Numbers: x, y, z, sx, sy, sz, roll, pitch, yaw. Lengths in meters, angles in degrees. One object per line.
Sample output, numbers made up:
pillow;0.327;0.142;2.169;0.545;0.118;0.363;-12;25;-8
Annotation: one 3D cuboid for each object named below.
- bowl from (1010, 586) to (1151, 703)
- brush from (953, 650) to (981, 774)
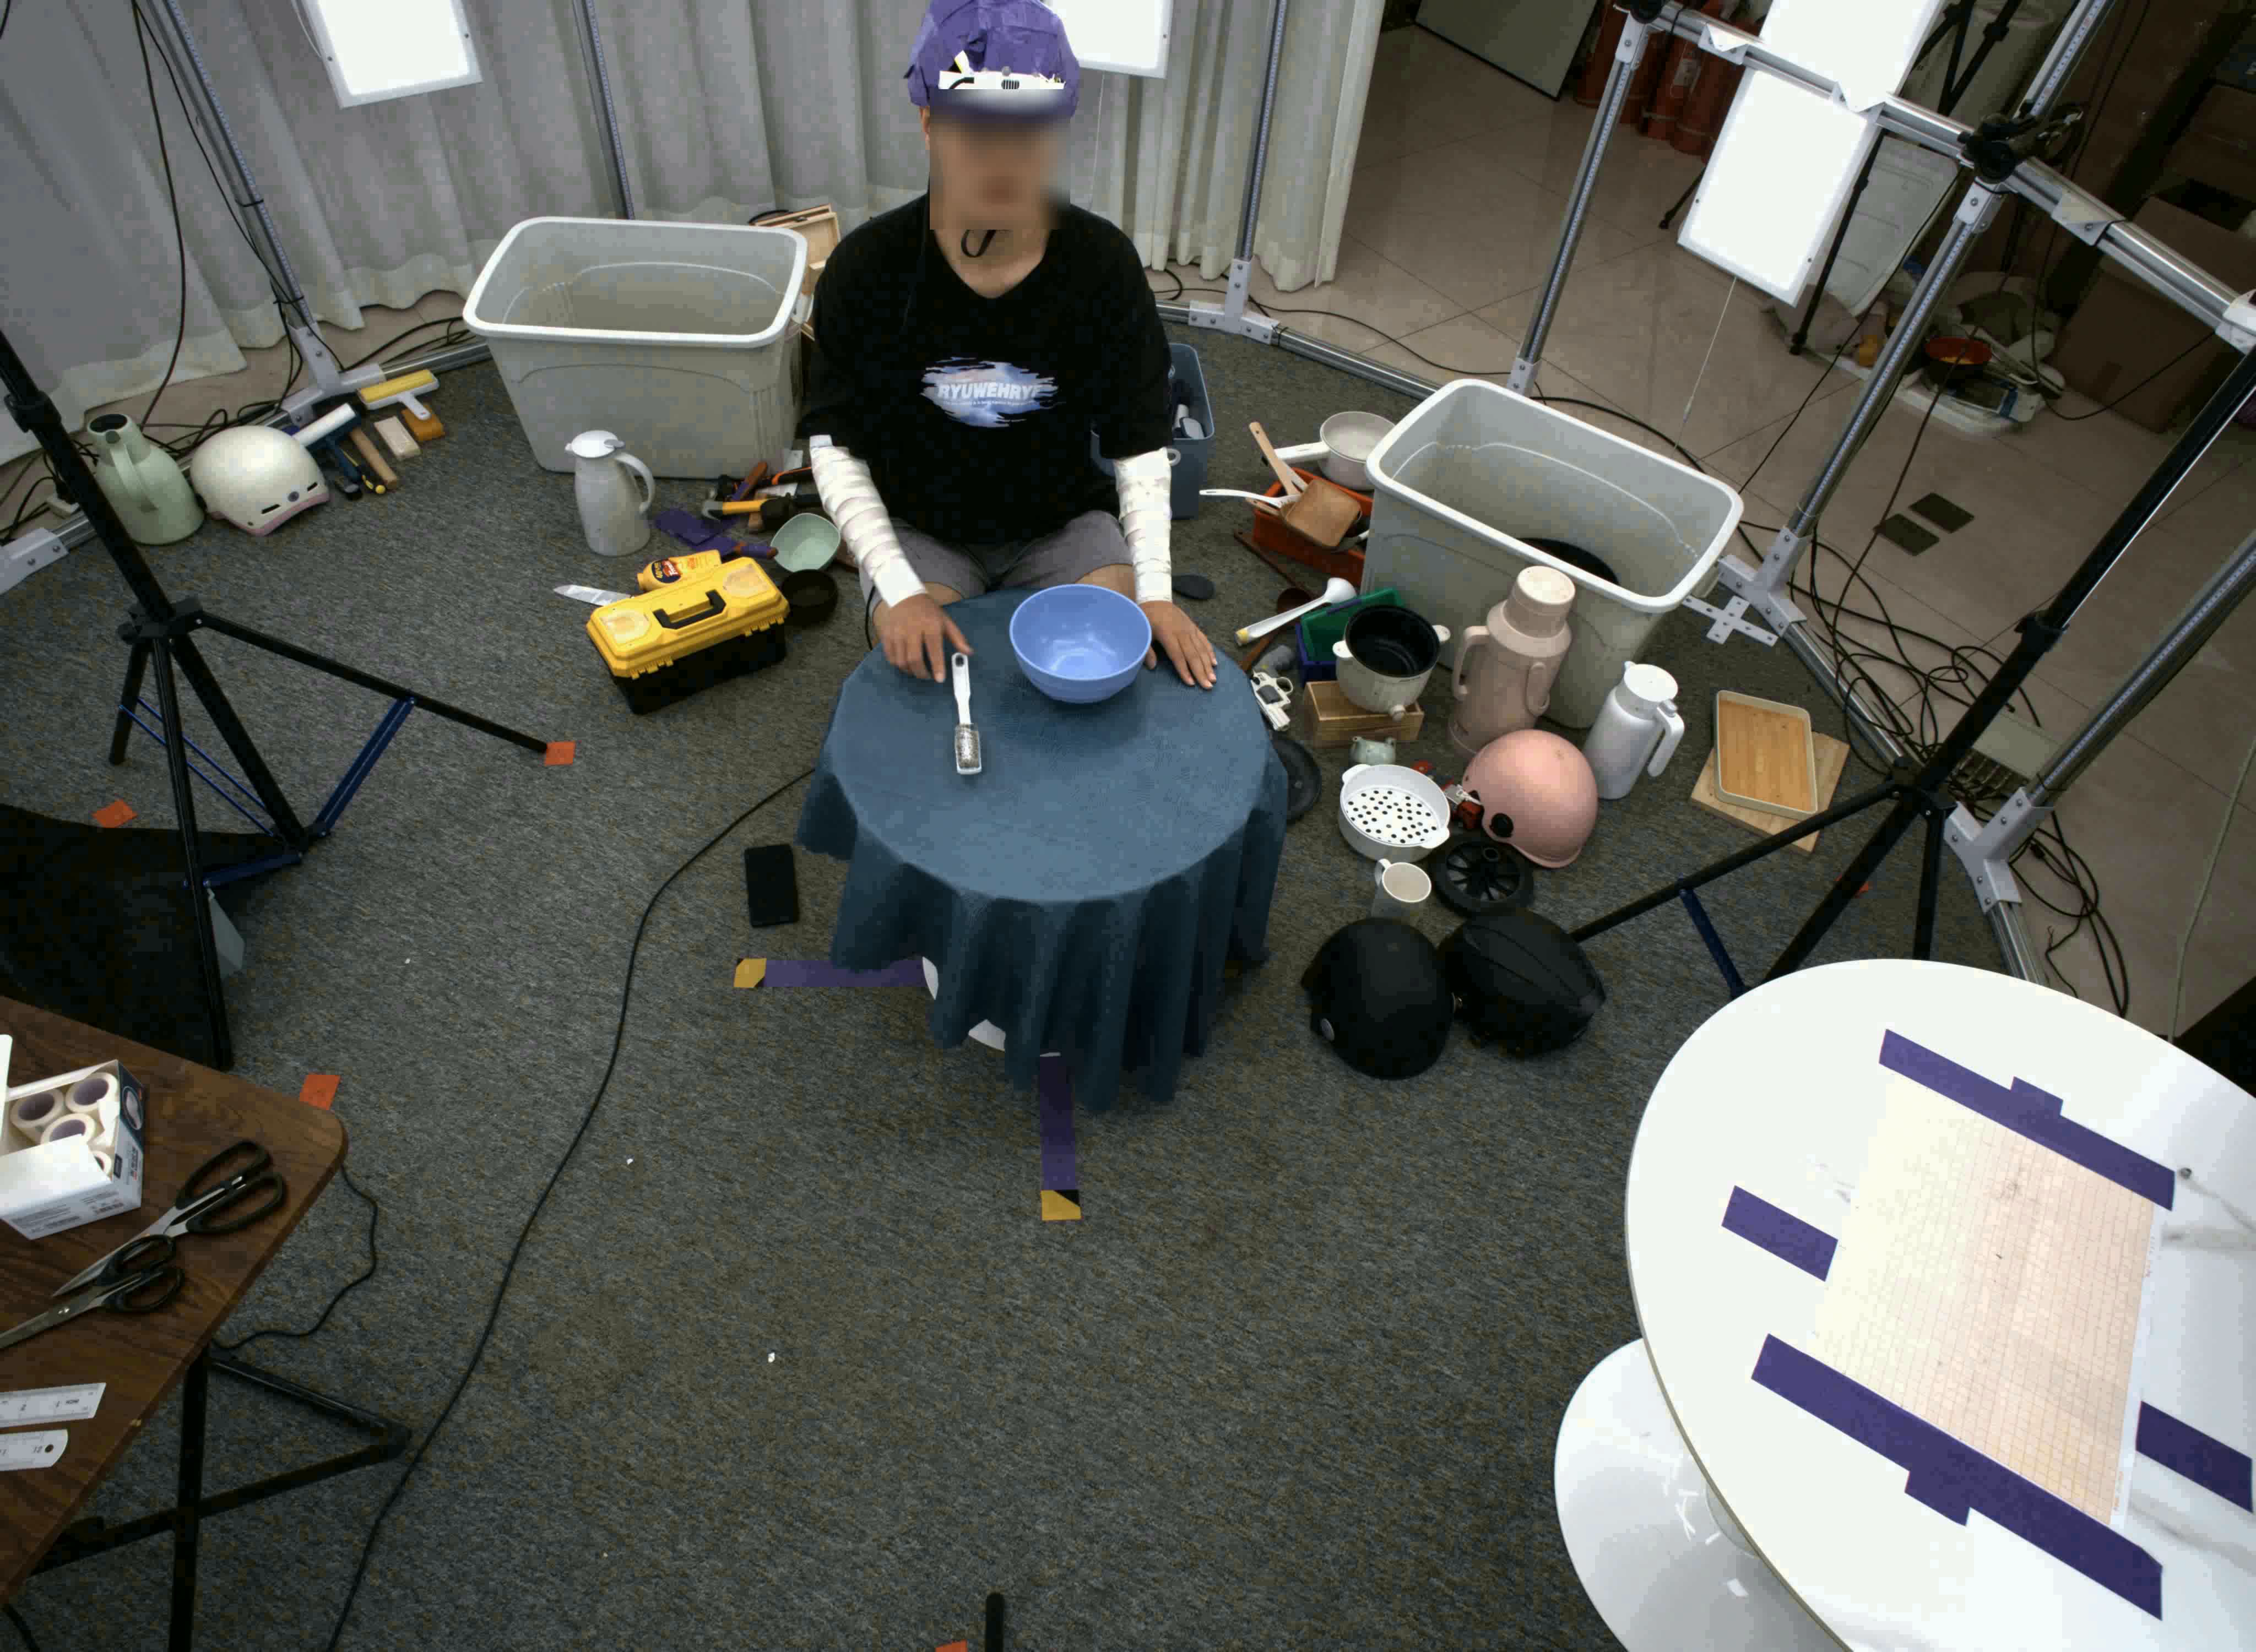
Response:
bowl;-0.067;-0.241;1.820;0.196;0.093;0.201;0;49;-1
brush;-0.221;-0.170;1.774;0.034;0.049;0.250;-3;50;-3
